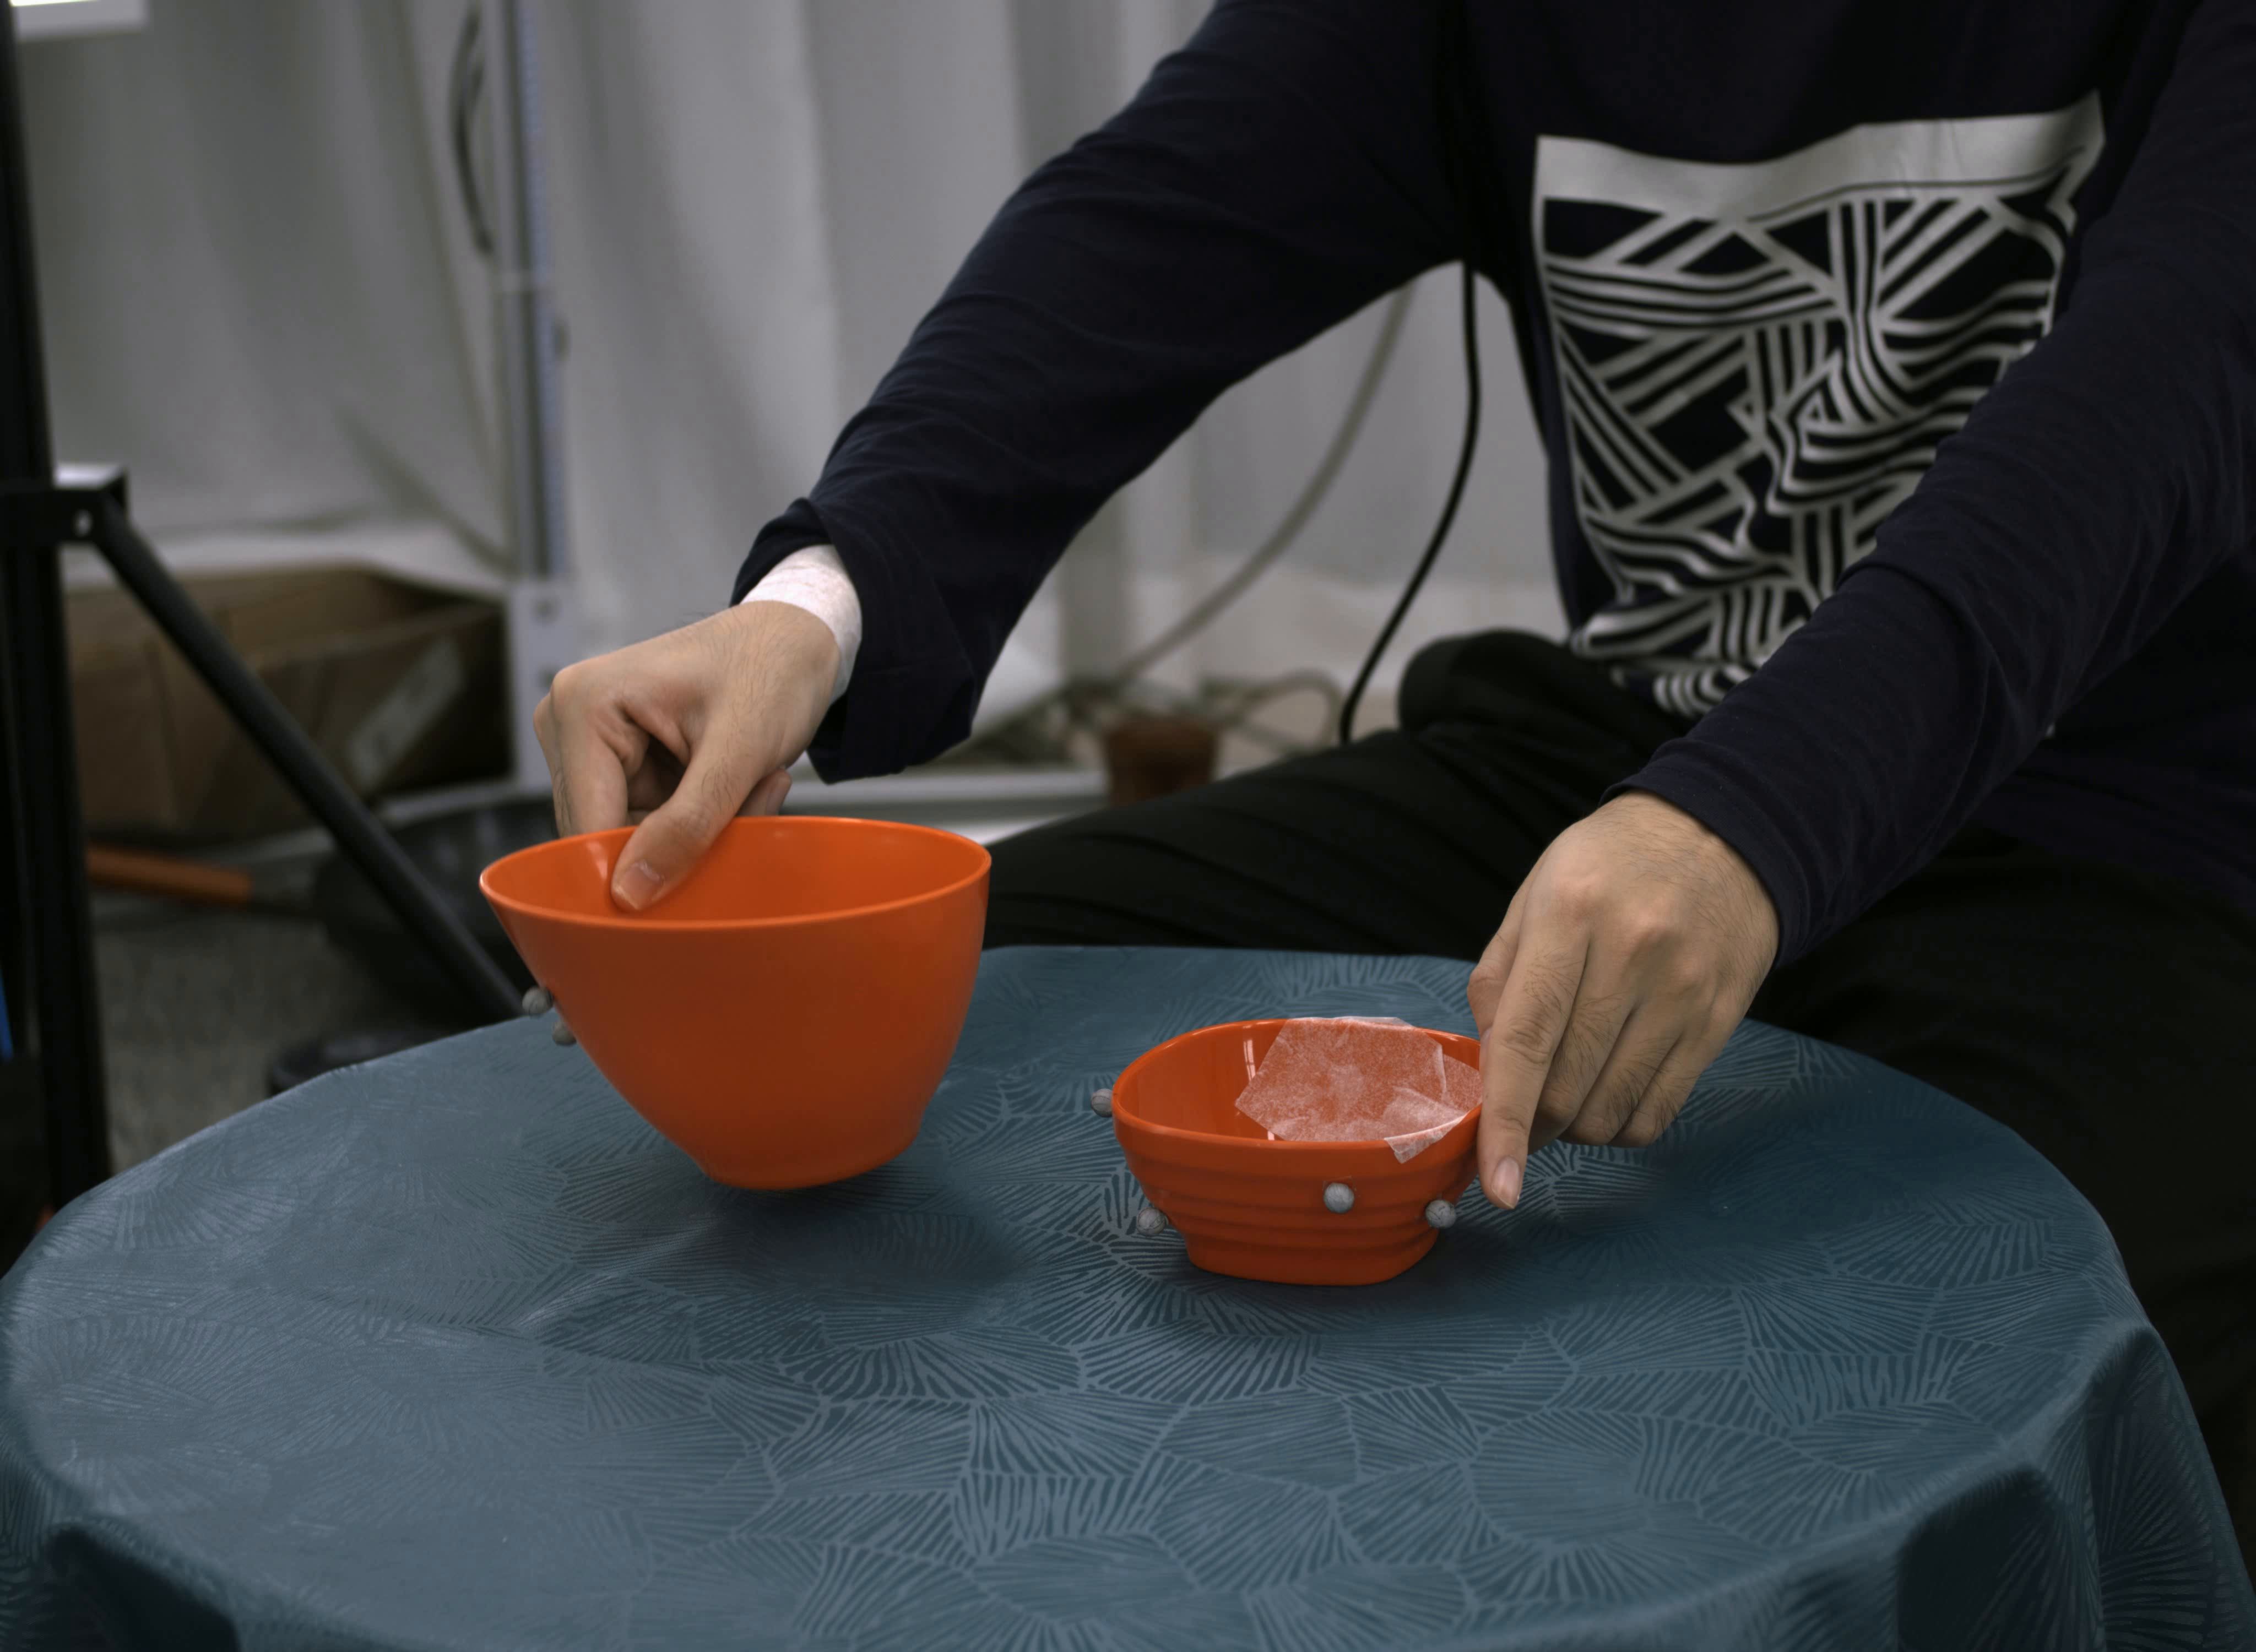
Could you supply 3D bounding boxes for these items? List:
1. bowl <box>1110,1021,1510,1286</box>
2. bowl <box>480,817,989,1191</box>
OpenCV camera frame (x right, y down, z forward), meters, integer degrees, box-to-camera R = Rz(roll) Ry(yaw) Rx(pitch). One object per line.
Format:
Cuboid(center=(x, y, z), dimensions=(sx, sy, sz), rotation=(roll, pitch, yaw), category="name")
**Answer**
Cuboid(center=(0.053, 0.095, 1.506), dimensions=(0.118, 0.051, 0.119), rotation=(-4, 15, 0), category="bowl")
Cuboid(center=(-0.109, 0.050, 1.557), dimensions=(0.147, 0.104, 0.149), rotation=(-7, 17, 1), category="bowl")
